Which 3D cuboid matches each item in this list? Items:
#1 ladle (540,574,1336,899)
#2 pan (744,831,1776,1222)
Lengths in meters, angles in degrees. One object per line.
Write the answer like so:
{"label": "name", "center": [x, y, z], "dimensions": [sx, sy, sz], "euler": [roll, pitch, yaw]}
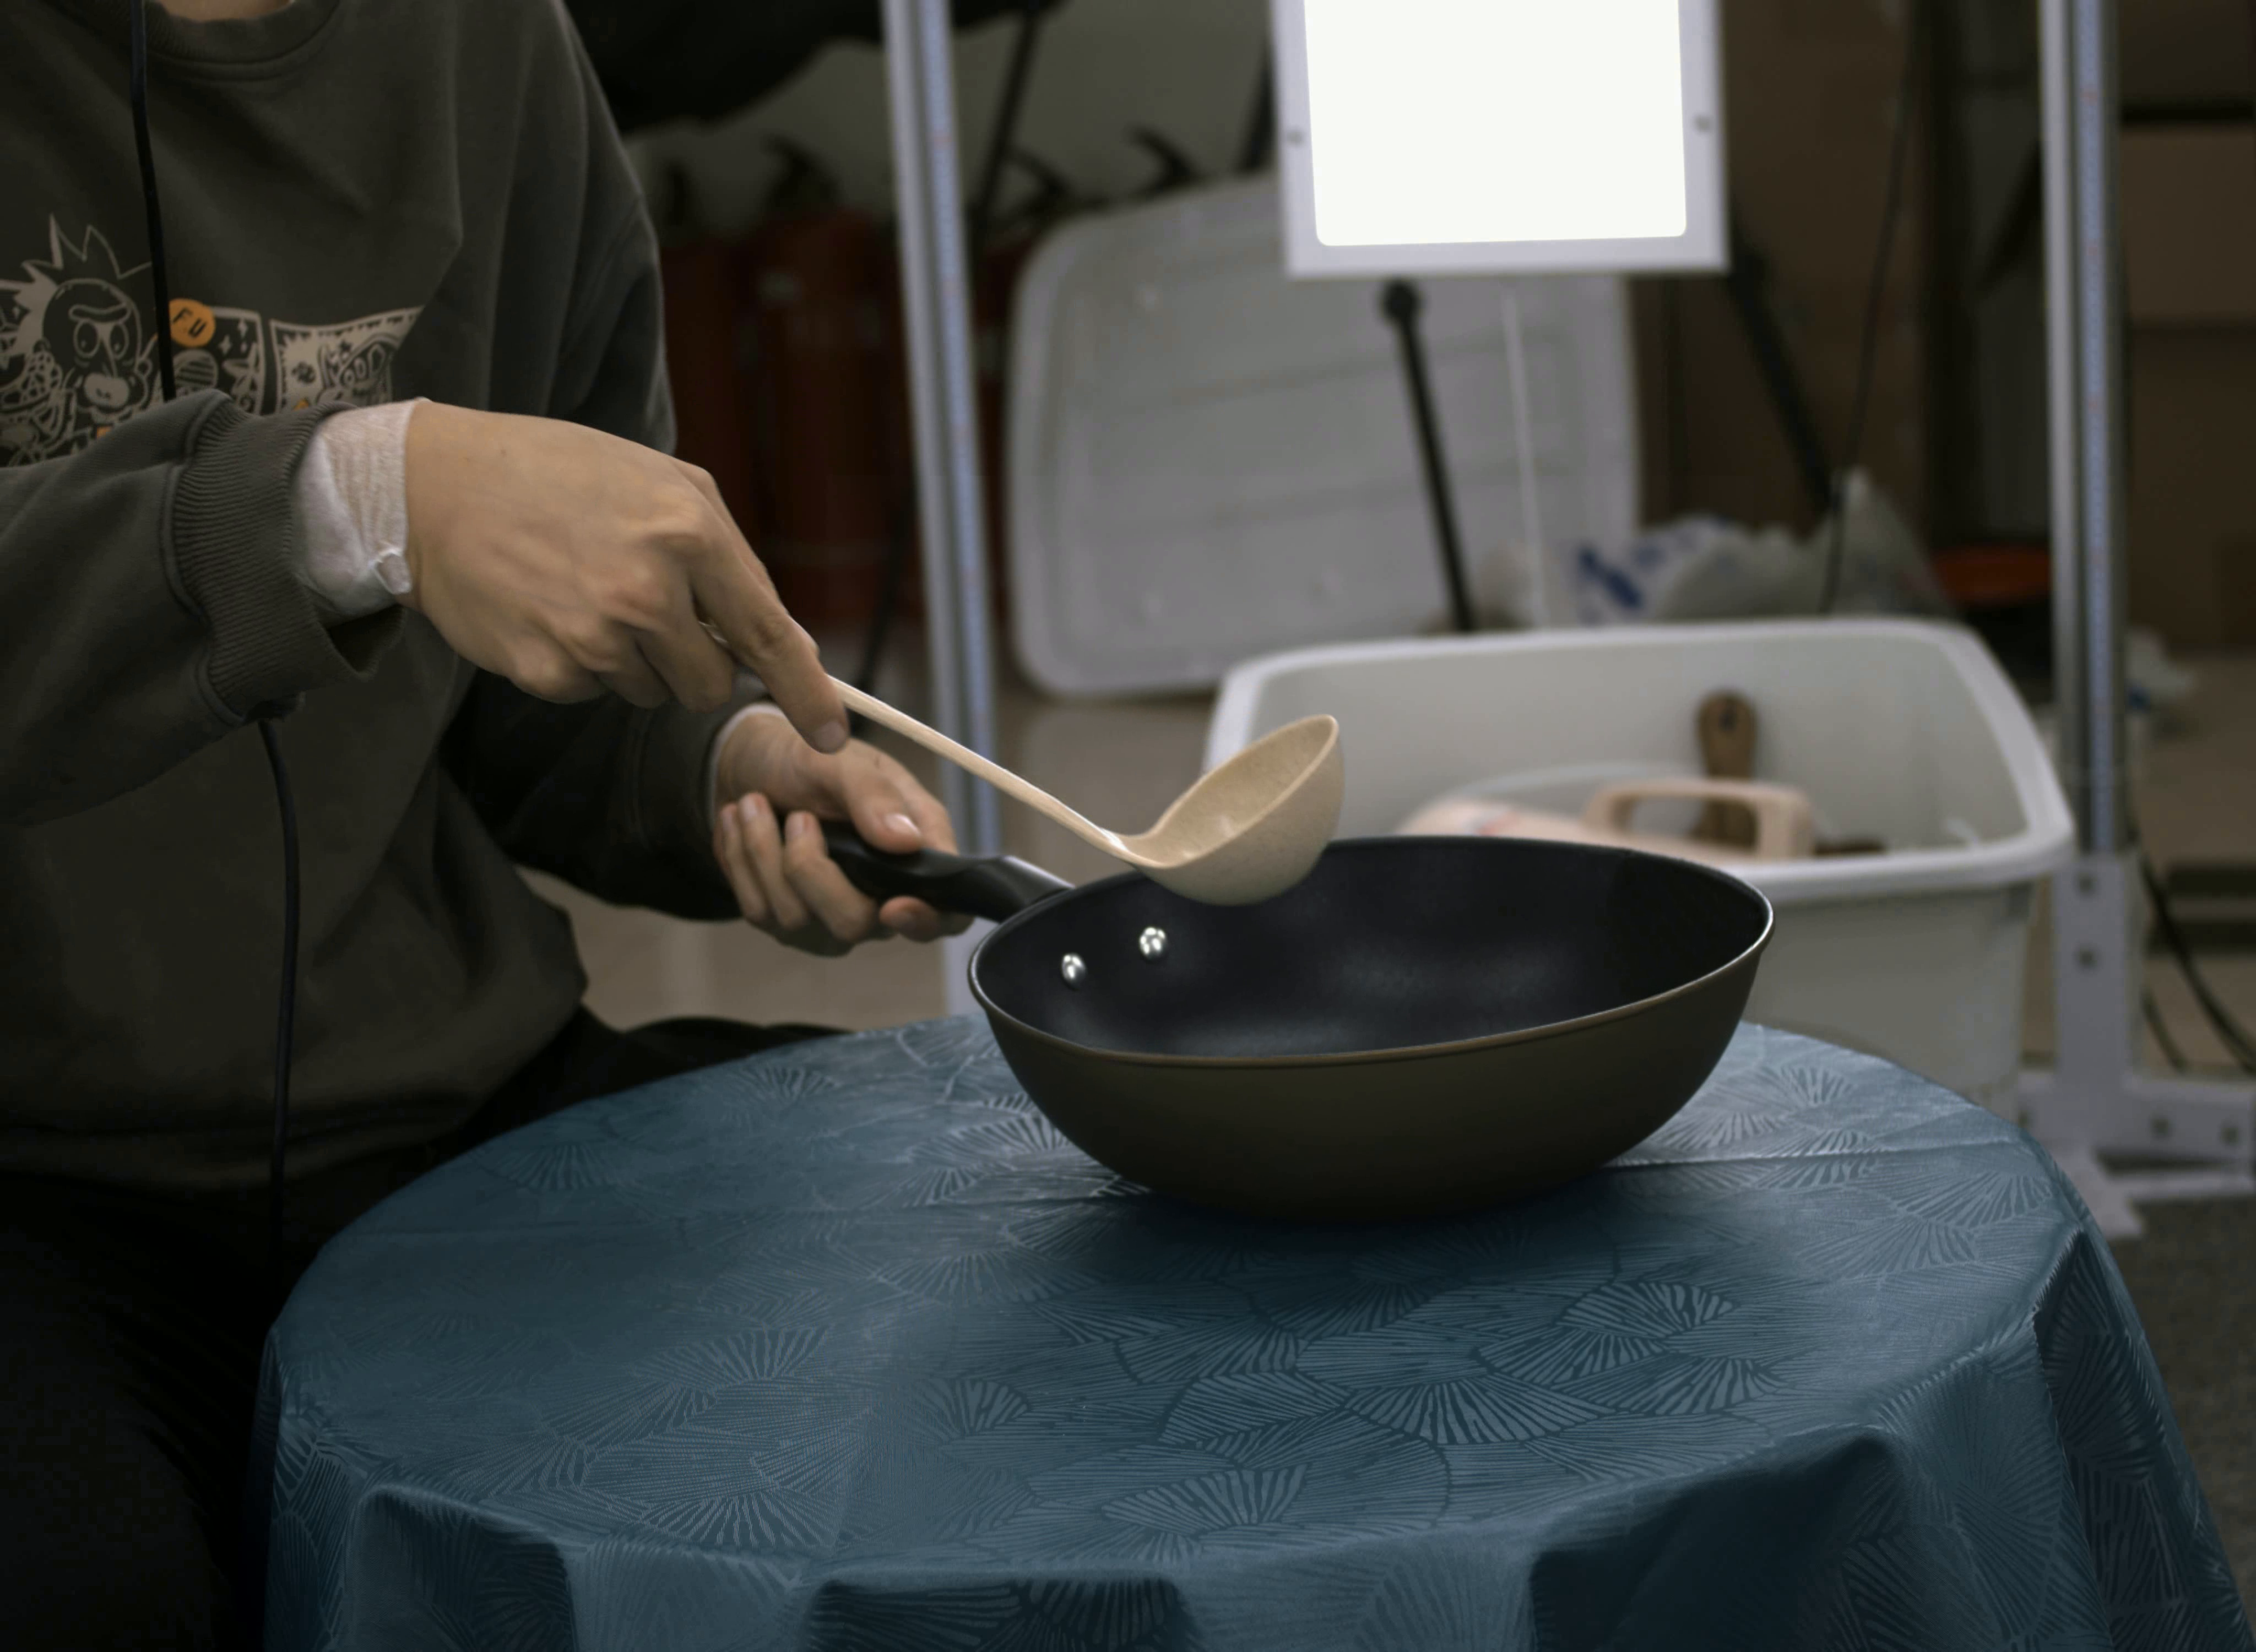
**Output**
{"label": "ladle", "center": [-0.053, -0.053, 1.708], "dimensions": [0.251, 0.073, 0.072], "euler": [26, 13, -14]}
{"label": "pan", "center": [0.020, 0.065, 1.963], "dimensions": [0.281, 0.087, 0.473], "euler": [-18, 18, -42]}
